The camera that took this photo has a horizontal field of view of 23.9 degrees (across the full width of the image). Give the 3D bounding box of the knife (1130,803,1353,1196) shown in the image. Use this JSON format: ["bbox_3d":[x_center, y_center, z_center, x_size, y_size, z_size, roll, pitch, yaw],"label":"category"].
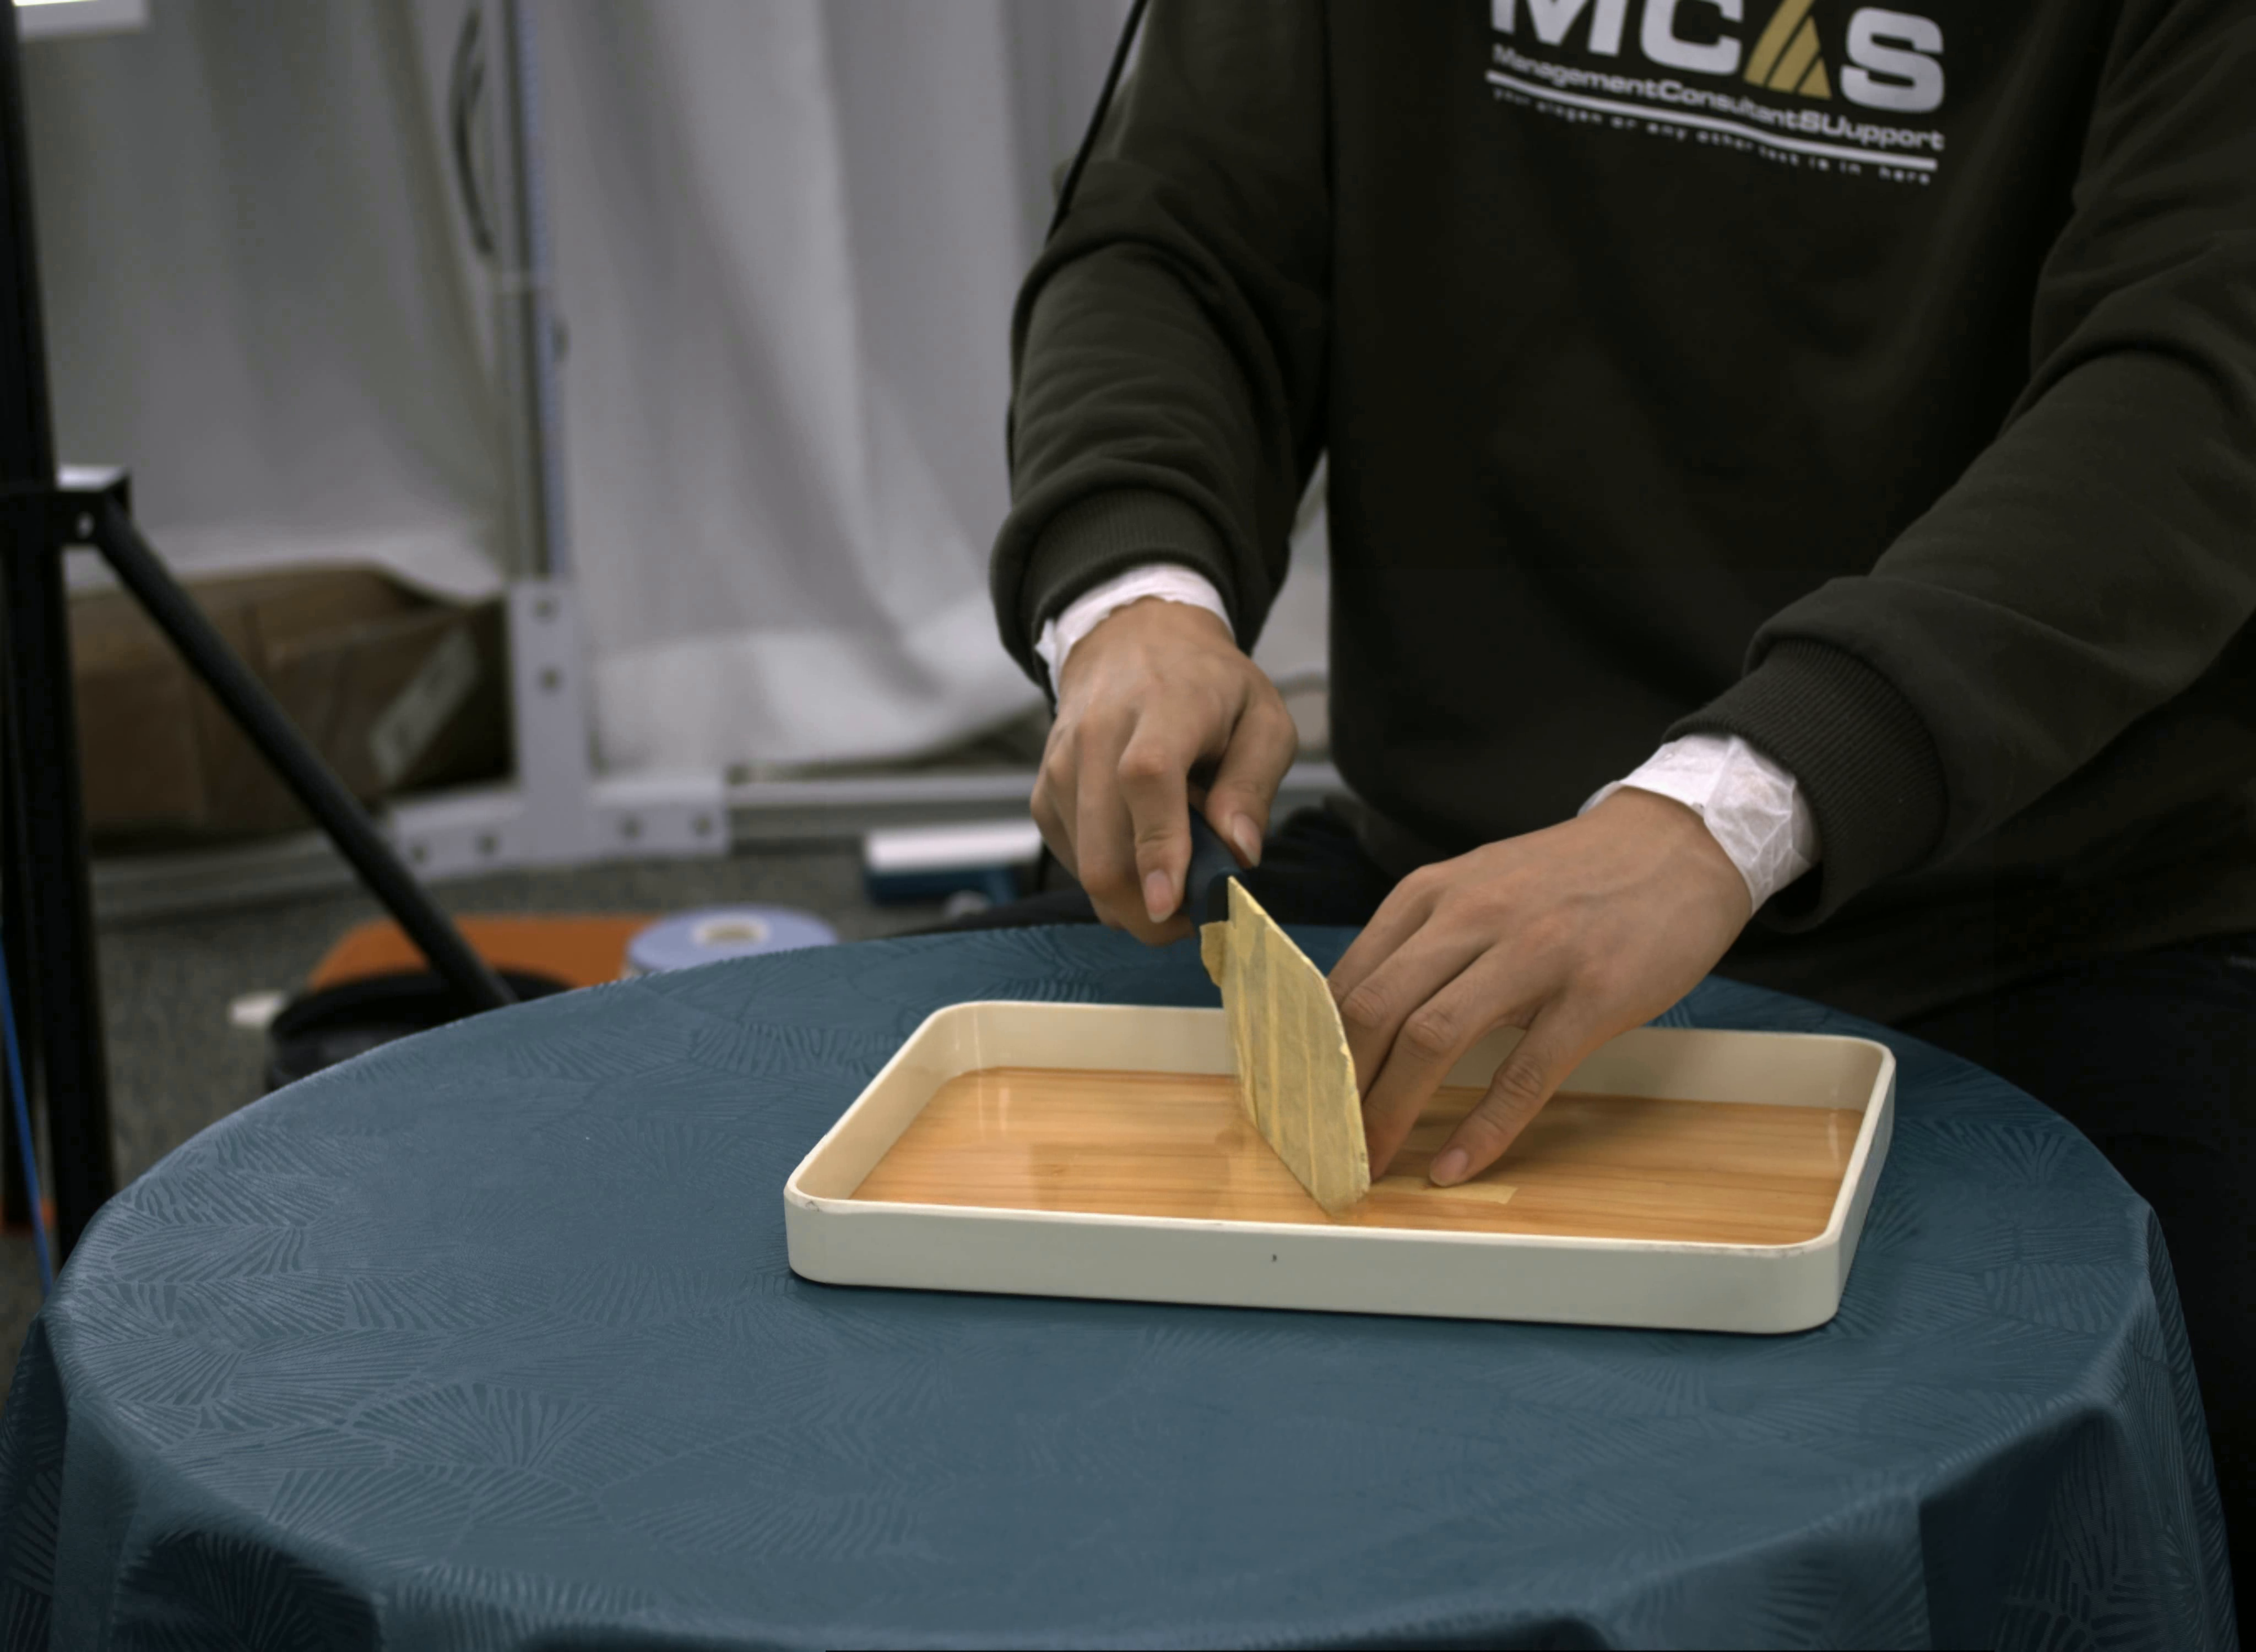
[{"bbox_3d":[0.036,0.051,1.596,0.027,0.081,0.293,-3,17,-10],"label":"knife"}]

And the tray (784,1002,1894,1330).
[{"bbox_3d":[0.066,0.097,1.543,0.302,0.027,0.190,2,15,15],"label":"tray"}]
